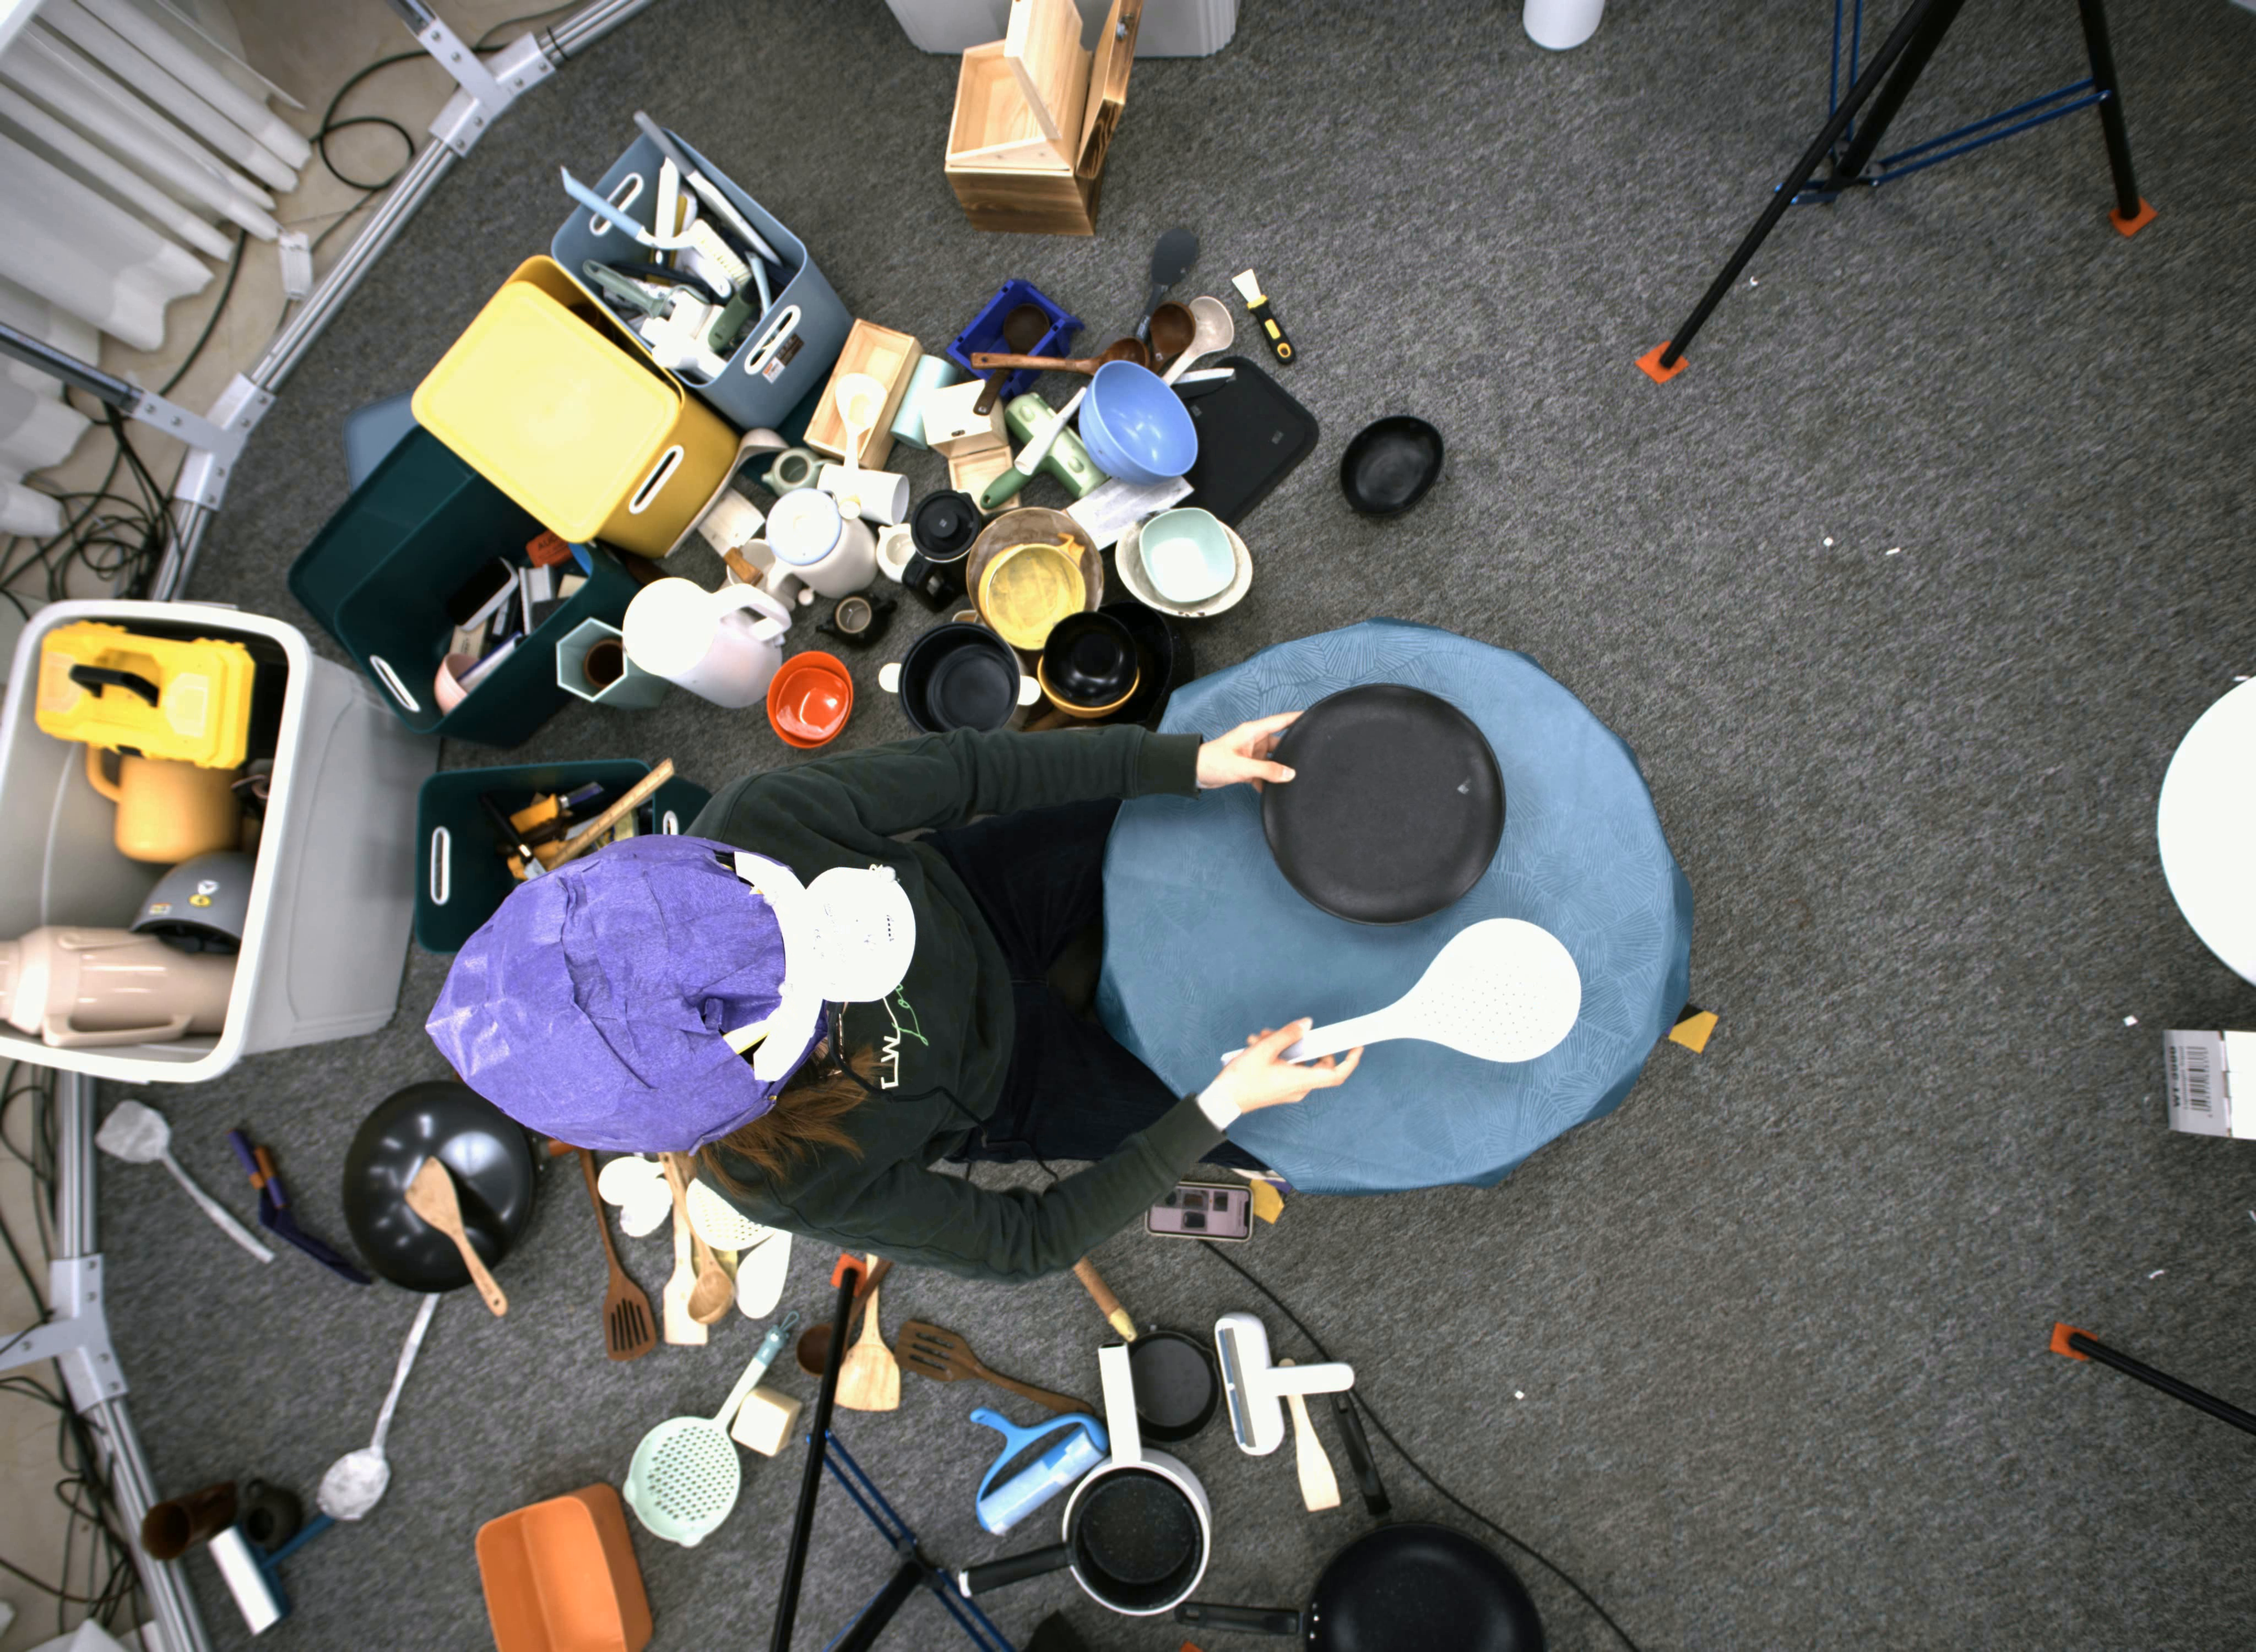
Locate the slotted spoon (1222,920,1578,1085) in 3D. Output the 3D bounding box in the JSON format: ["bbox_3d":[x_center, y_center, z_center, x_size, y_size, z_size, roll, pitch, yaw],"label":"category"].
[{"bbox_3d":[0.260,0.191,1.343,0.351,0.046,0.134,-17,74,5],"label":"slotted spoon"}]

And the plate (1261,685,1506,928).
[{"bbox_3d":[0.255,-0.021,1.387,0.245,0.023,0.245,0,95,7],"label":"plate"}]
